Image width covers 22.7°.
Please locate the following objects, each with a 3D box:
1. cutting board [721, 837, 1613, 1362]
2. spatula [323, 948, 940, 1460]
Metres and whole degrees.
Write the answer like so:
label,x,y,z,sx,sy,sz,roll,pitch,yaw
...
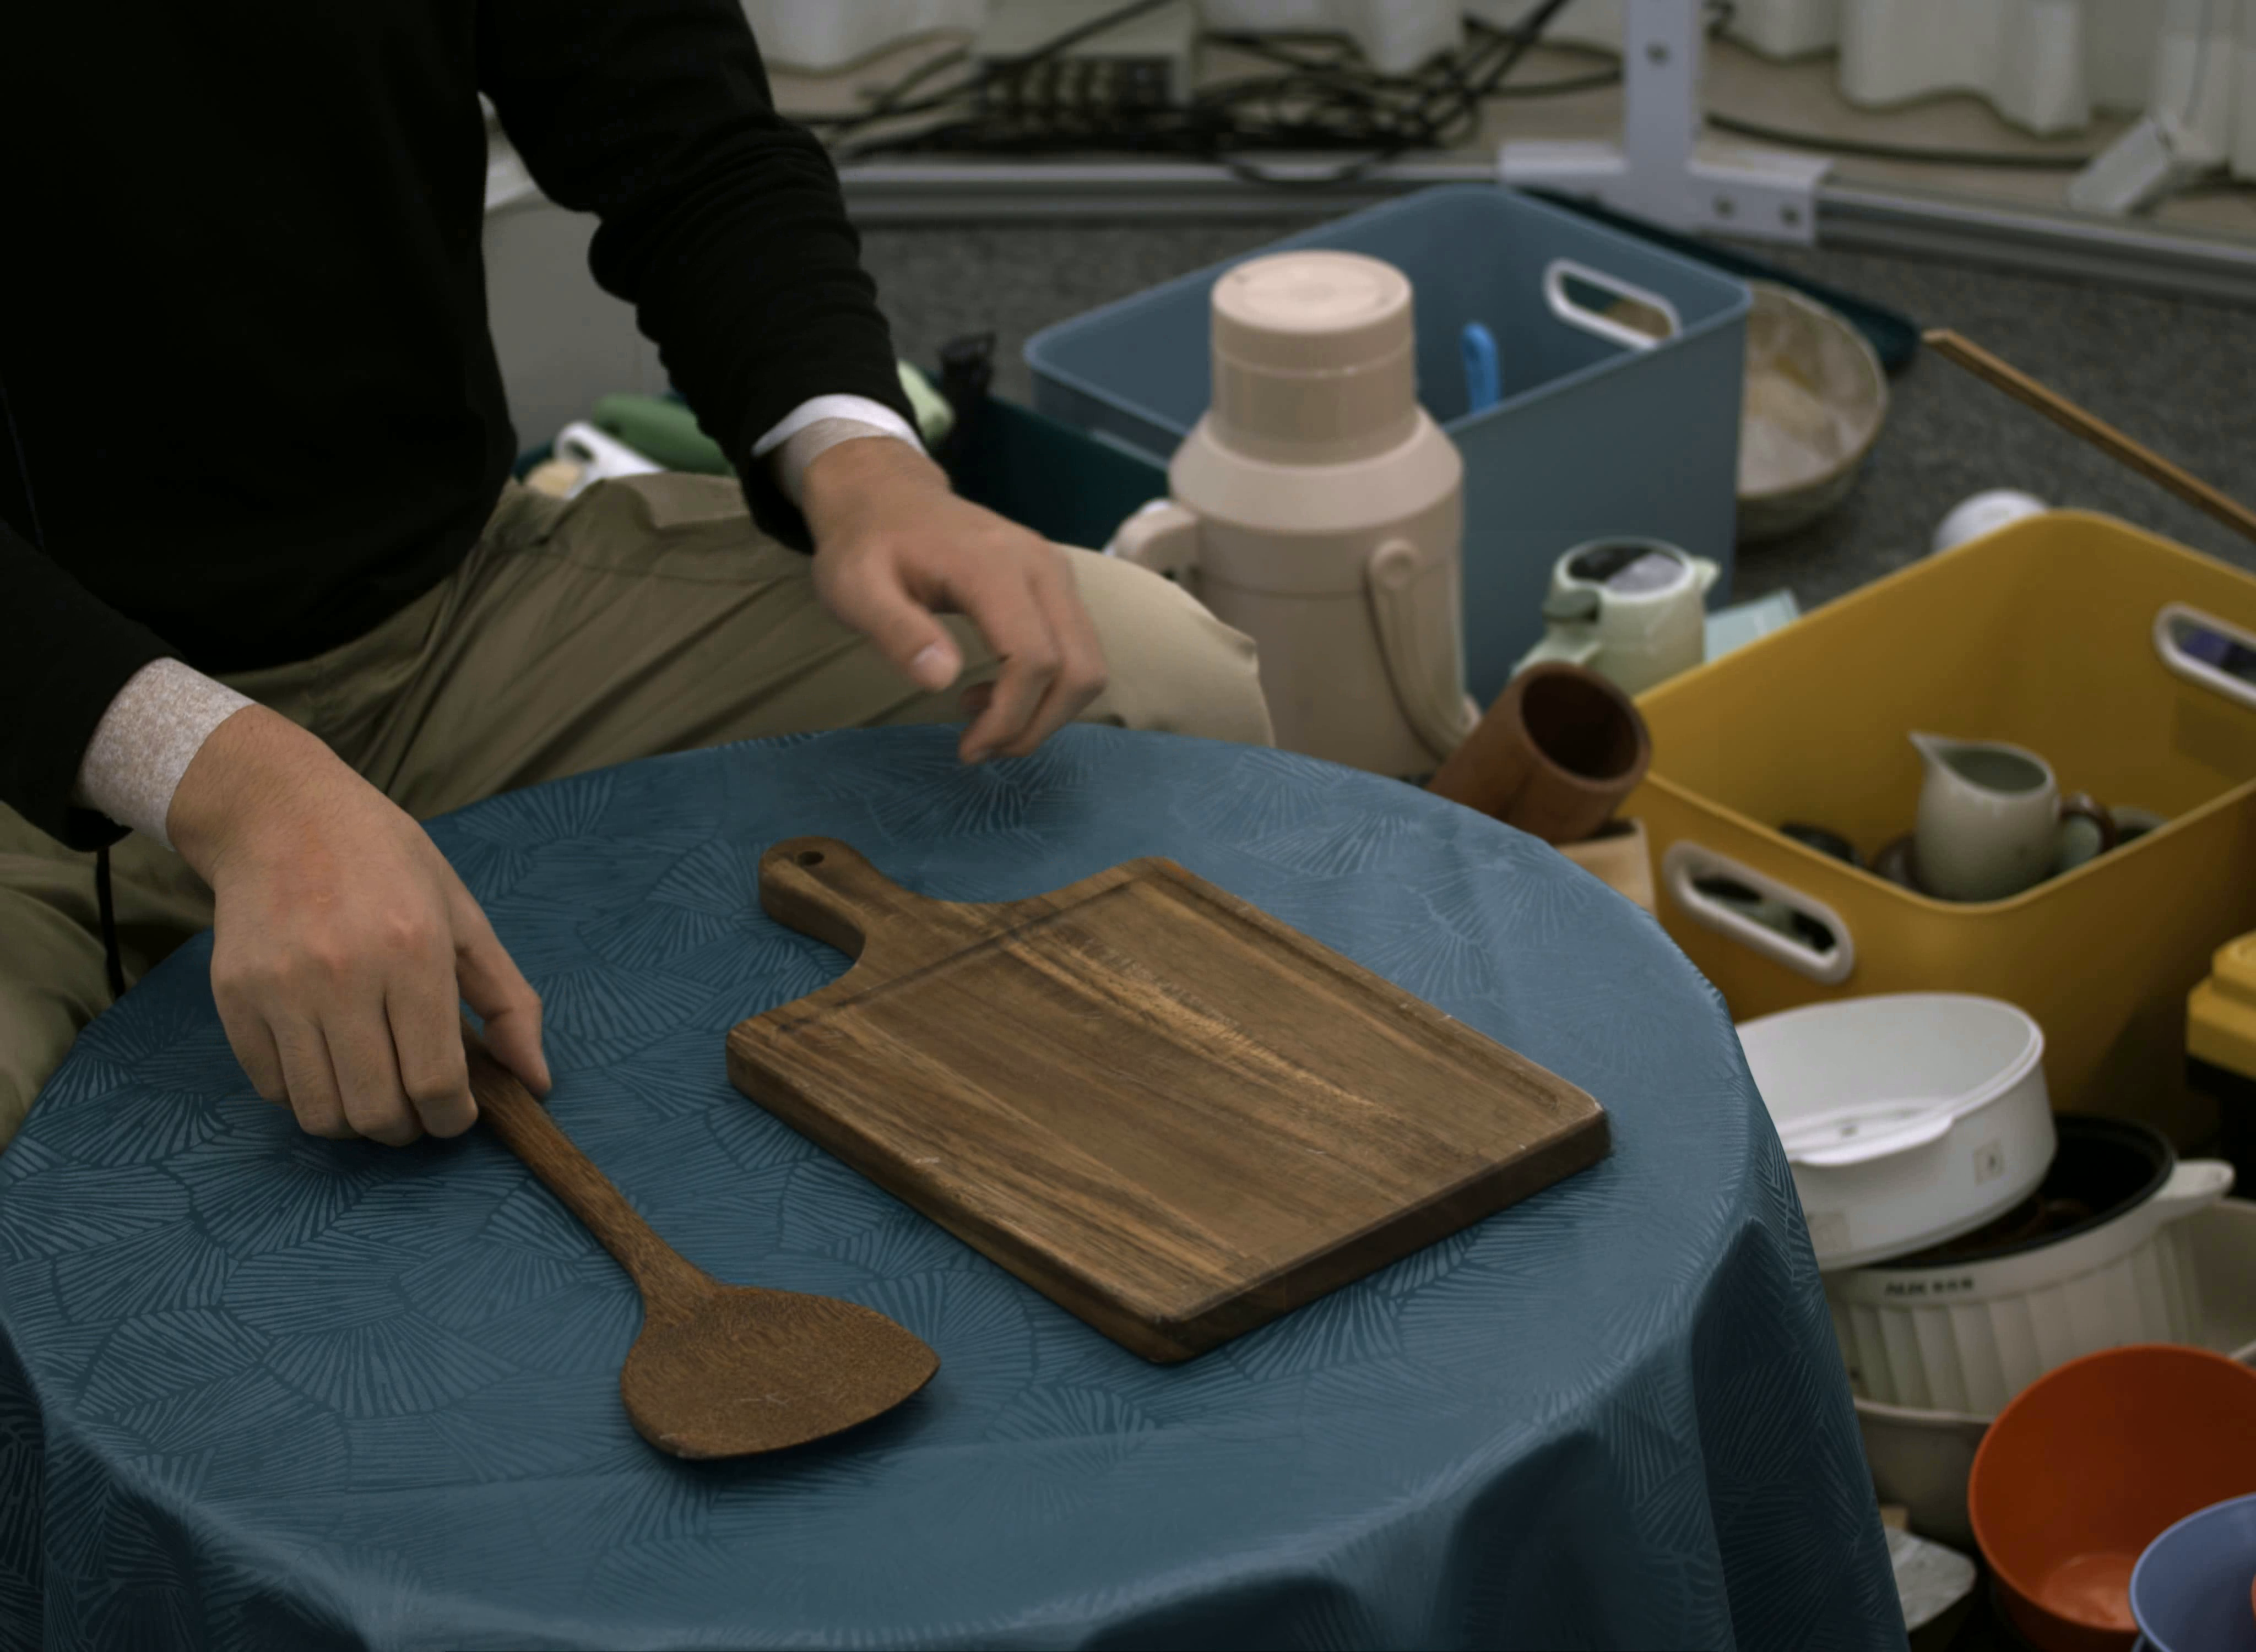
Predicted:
label,x,y,z,sx,sy,sz,roll,pitch,yaw
cutting board,-0.020,0.073,1.935,0.203,0.023,0.352,-22,33,-33
spatula,-0.187,0.117,1.872,0.096,0.015,0.387,-17,30,-25
